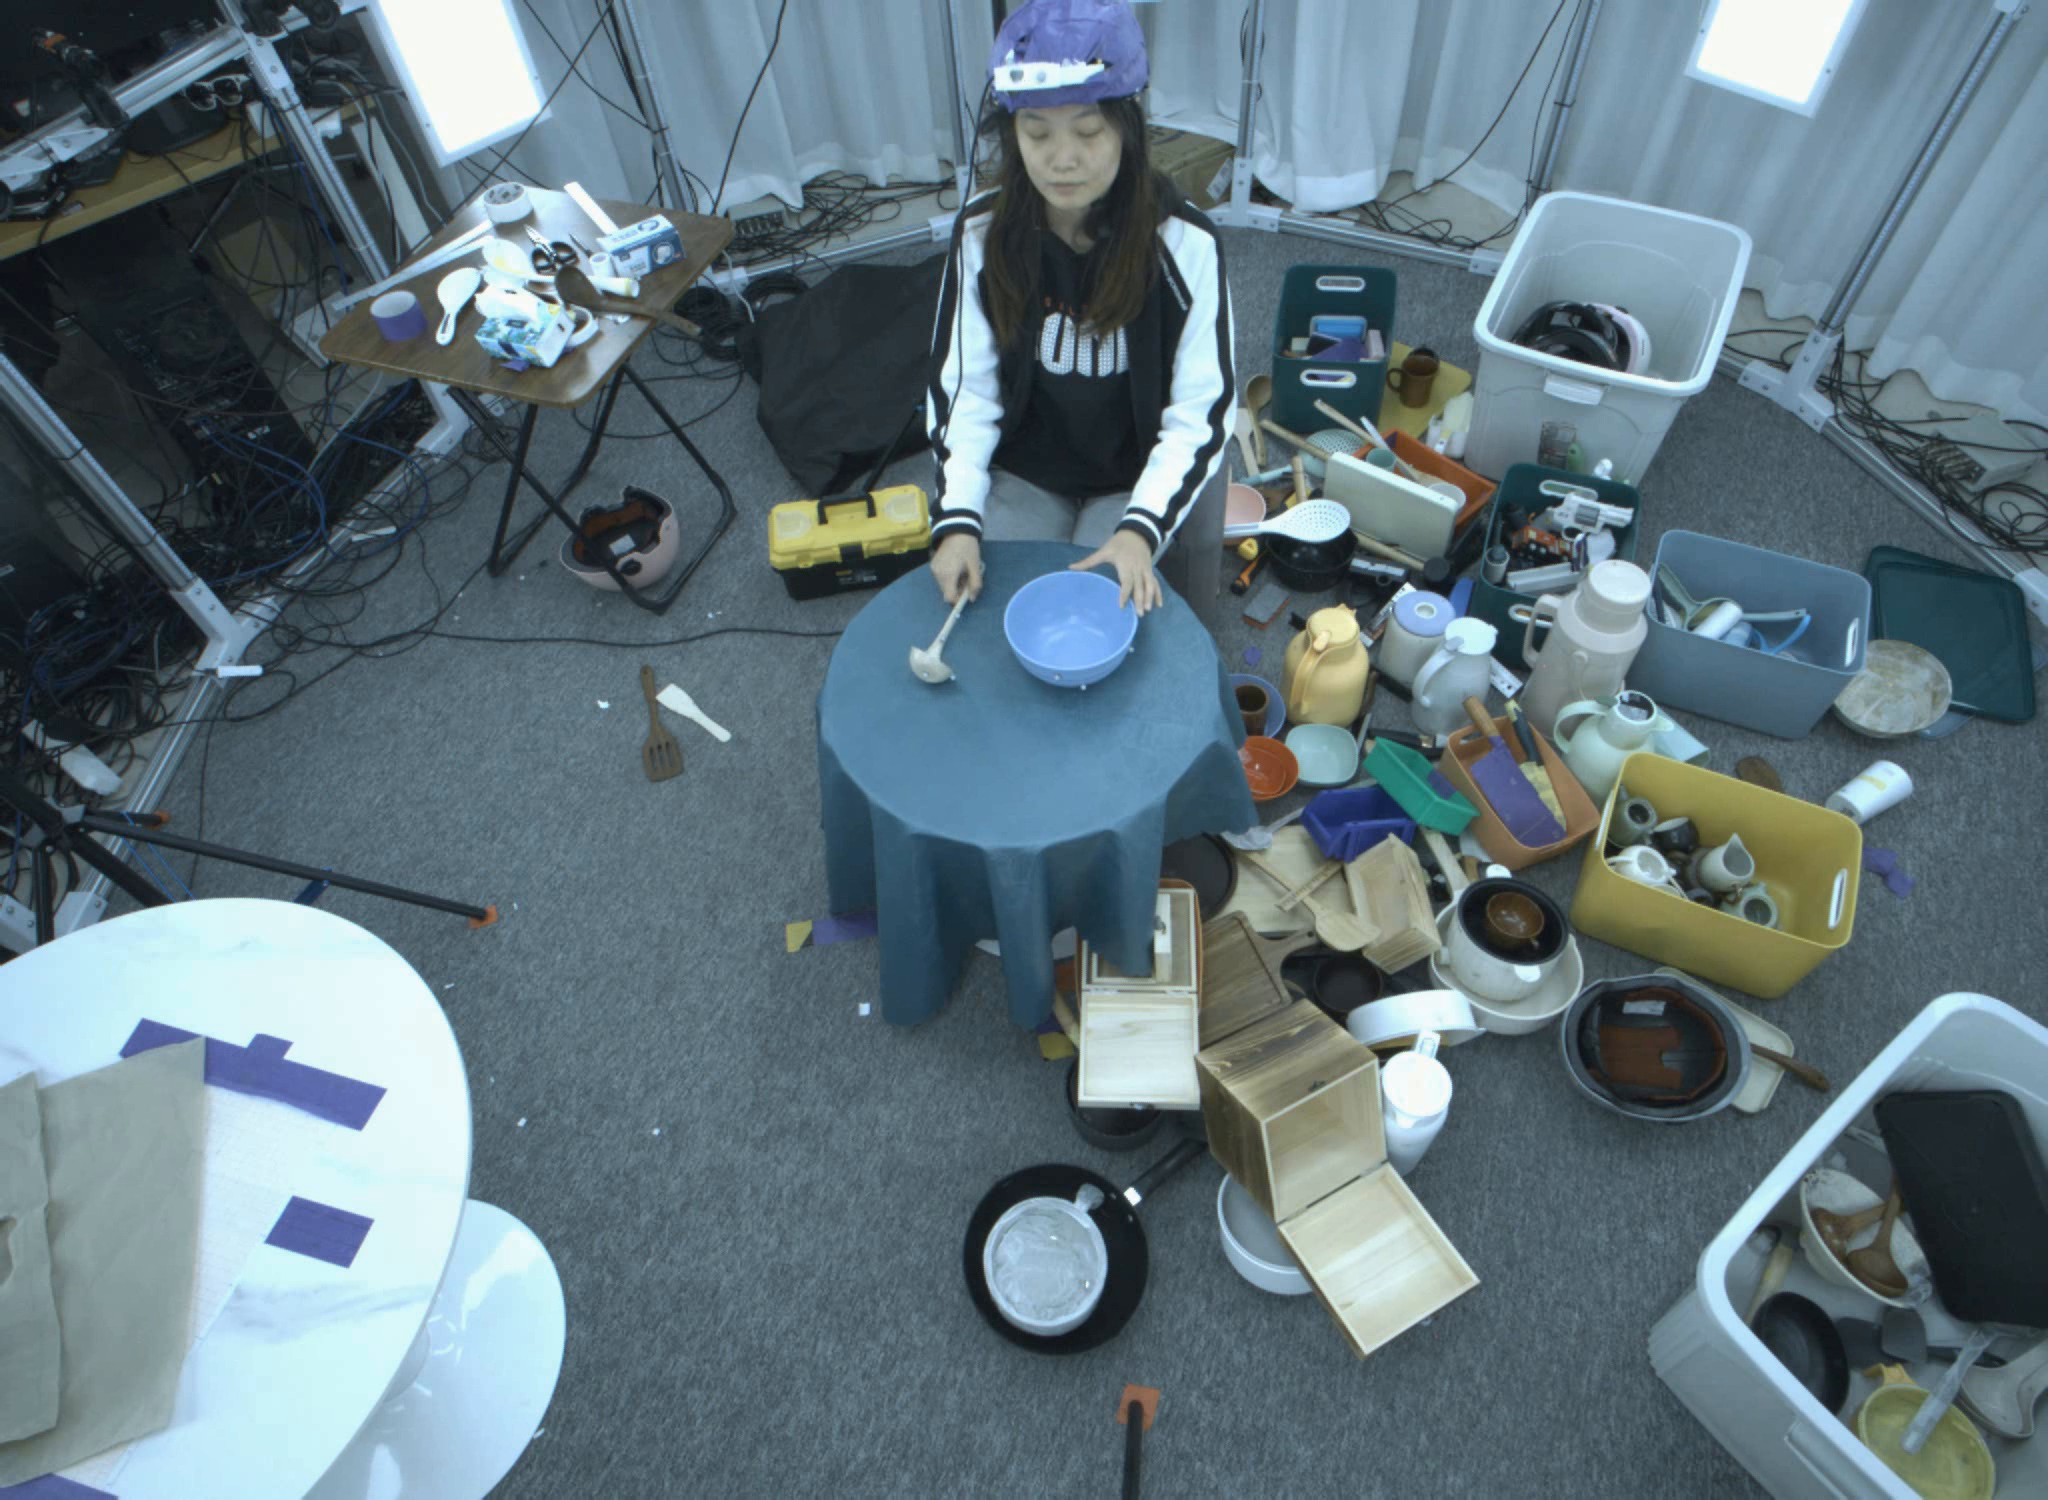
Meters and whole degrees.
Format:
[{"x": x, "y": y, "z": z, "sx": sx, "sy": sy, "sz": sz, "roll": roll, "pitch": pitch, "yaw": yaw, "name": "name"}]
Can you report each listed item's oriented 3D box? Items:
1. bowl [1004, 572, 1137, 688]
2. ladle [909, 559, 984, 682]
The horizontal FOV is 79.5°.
[{"x": 0.071, "y": -0.165, "z": 1.847, "sx": 0.196, "sy": 0.096, "sz": 0.194, "roll": -1, "pitch": 54, "yaw": 3, "name": "bowl"}, {"x": -0.103, "y": -0.215, "z": 1.889, "sx": 0.073, "sy": 0.072, "sz": 0.254, "roll": 30, "pitch": 62, "yaw": -12, "name": "ladle"}]
